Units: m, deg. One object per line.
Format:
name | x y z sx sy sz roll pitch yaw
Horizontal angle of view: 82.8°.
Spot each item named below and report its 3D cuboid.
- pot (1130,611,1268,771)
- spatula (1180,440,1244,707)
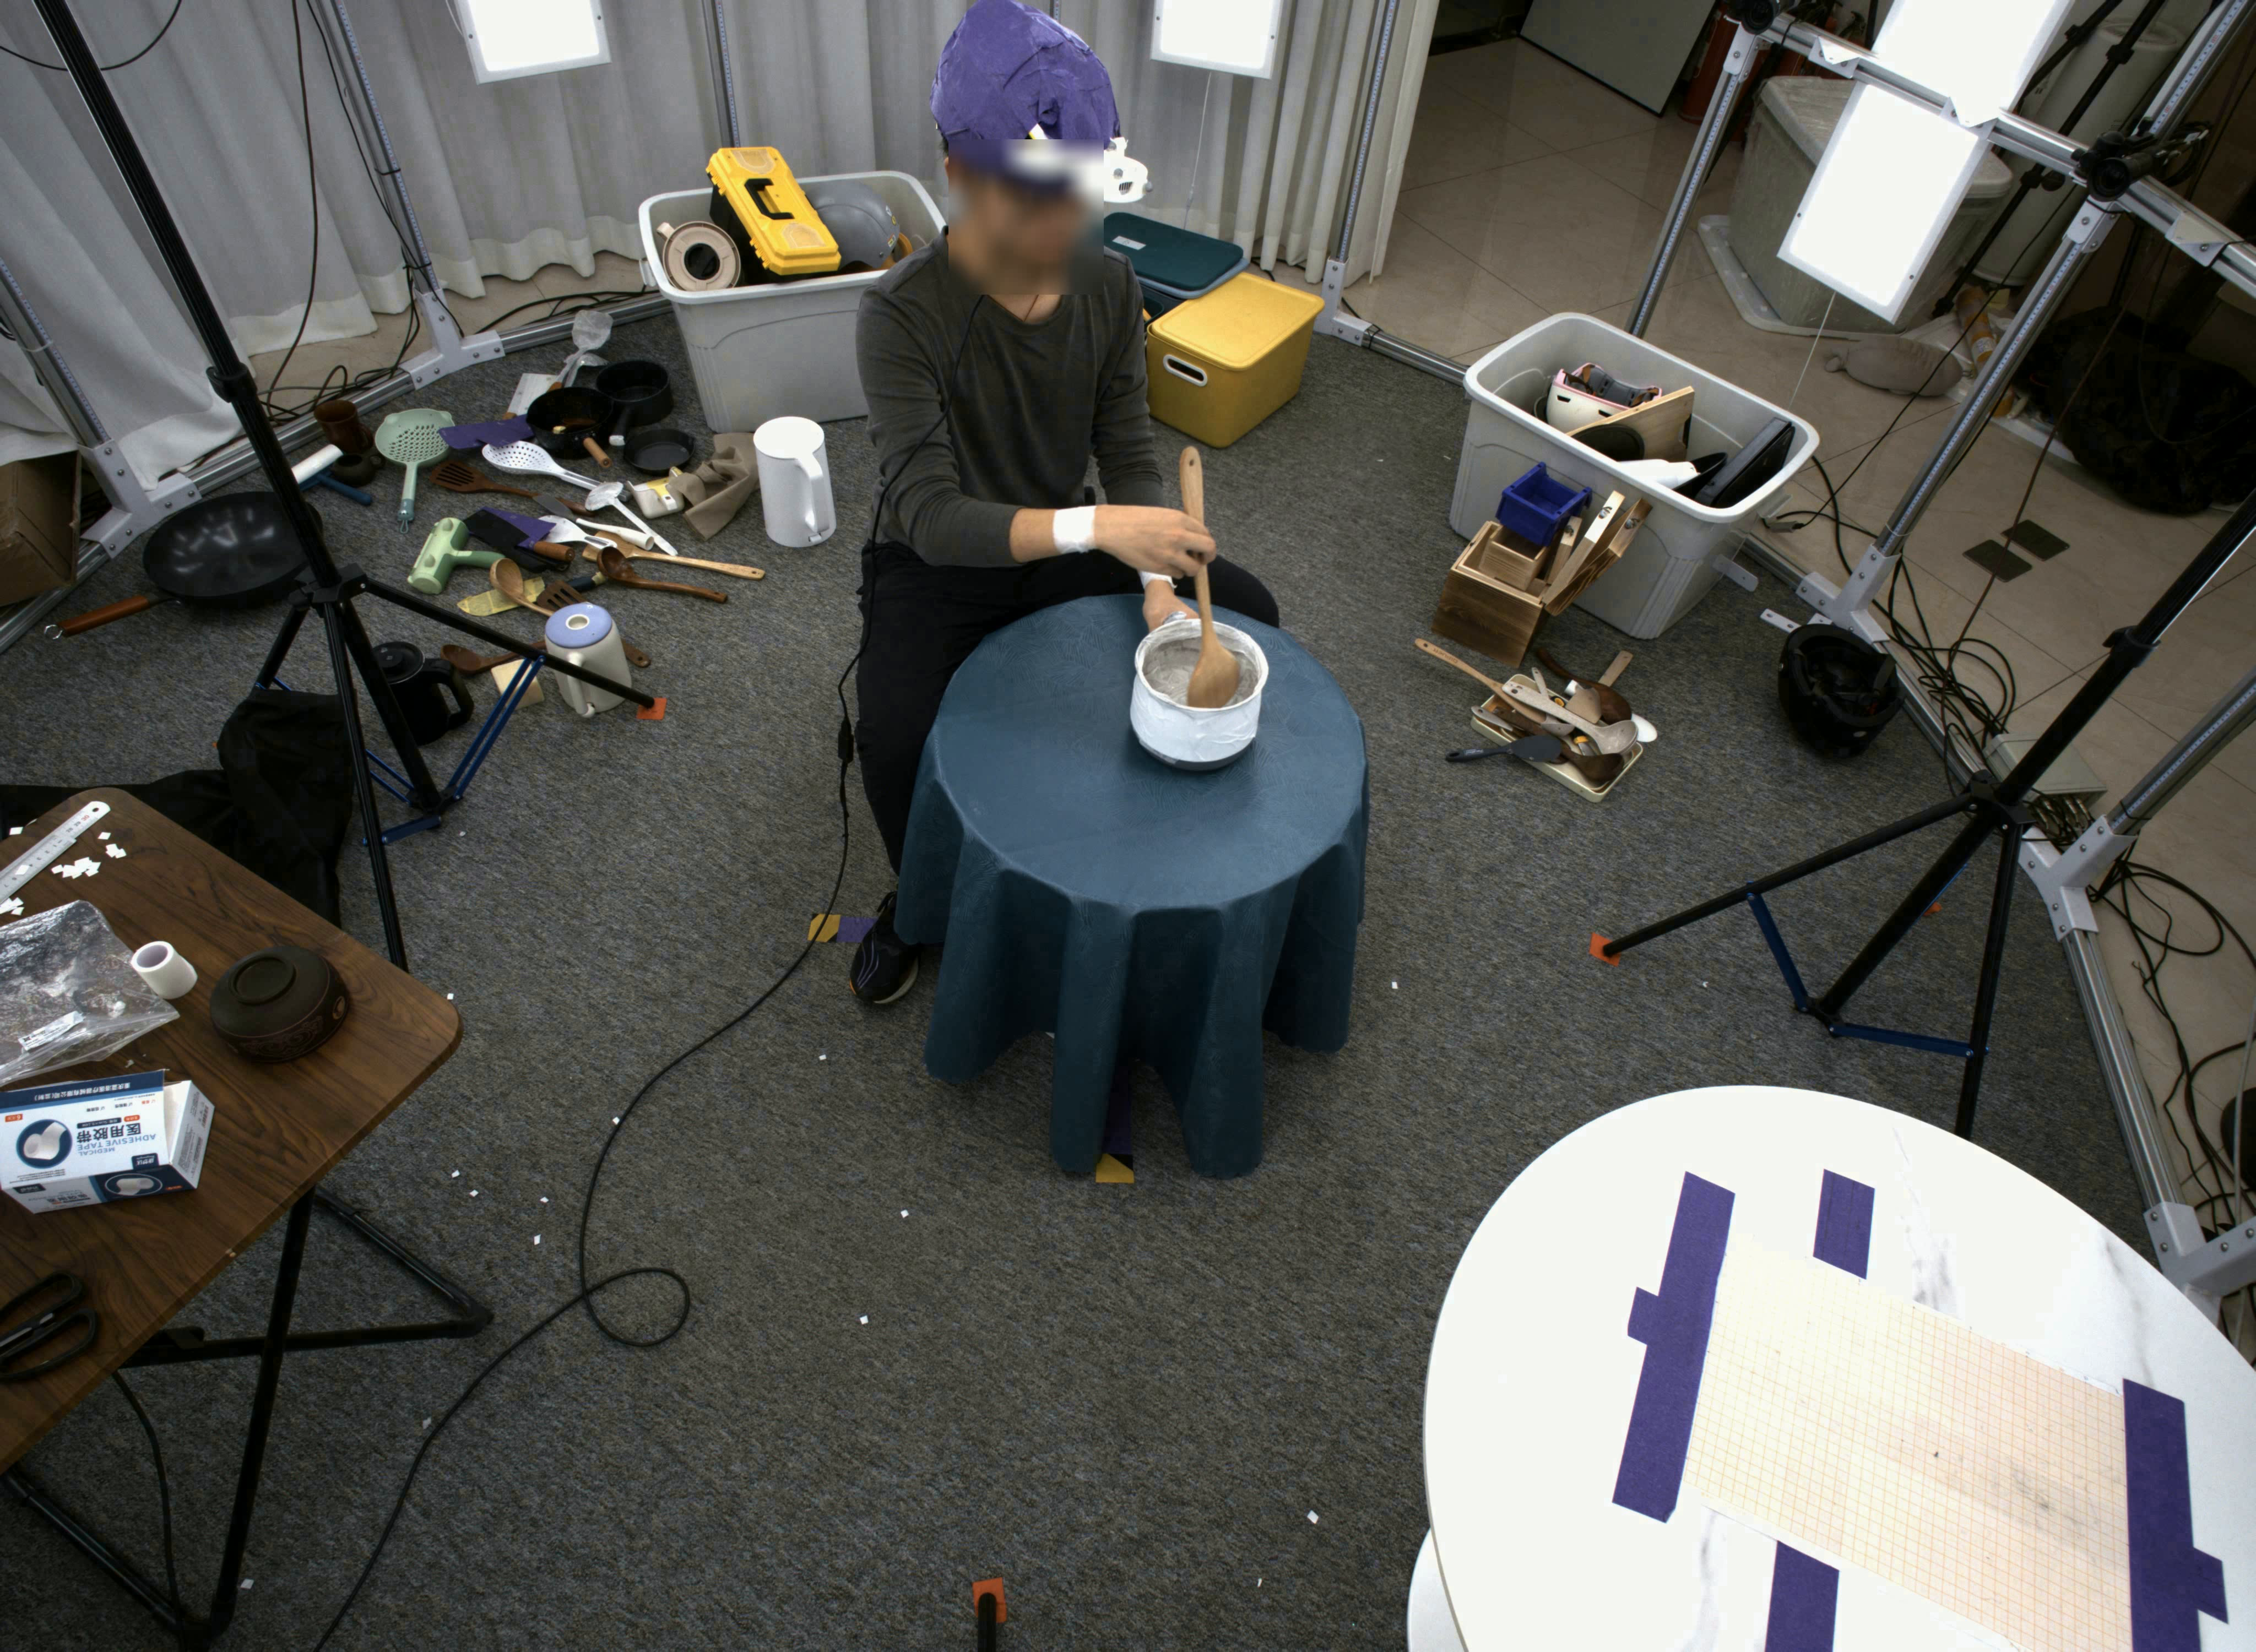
pot | 0.085 -0.194 1.753 0.178 0.133 0.239 -10 51 -13
spatula | 0.101 -0.306 1.631 0.096 0.381 0.019 -34 43 -27
